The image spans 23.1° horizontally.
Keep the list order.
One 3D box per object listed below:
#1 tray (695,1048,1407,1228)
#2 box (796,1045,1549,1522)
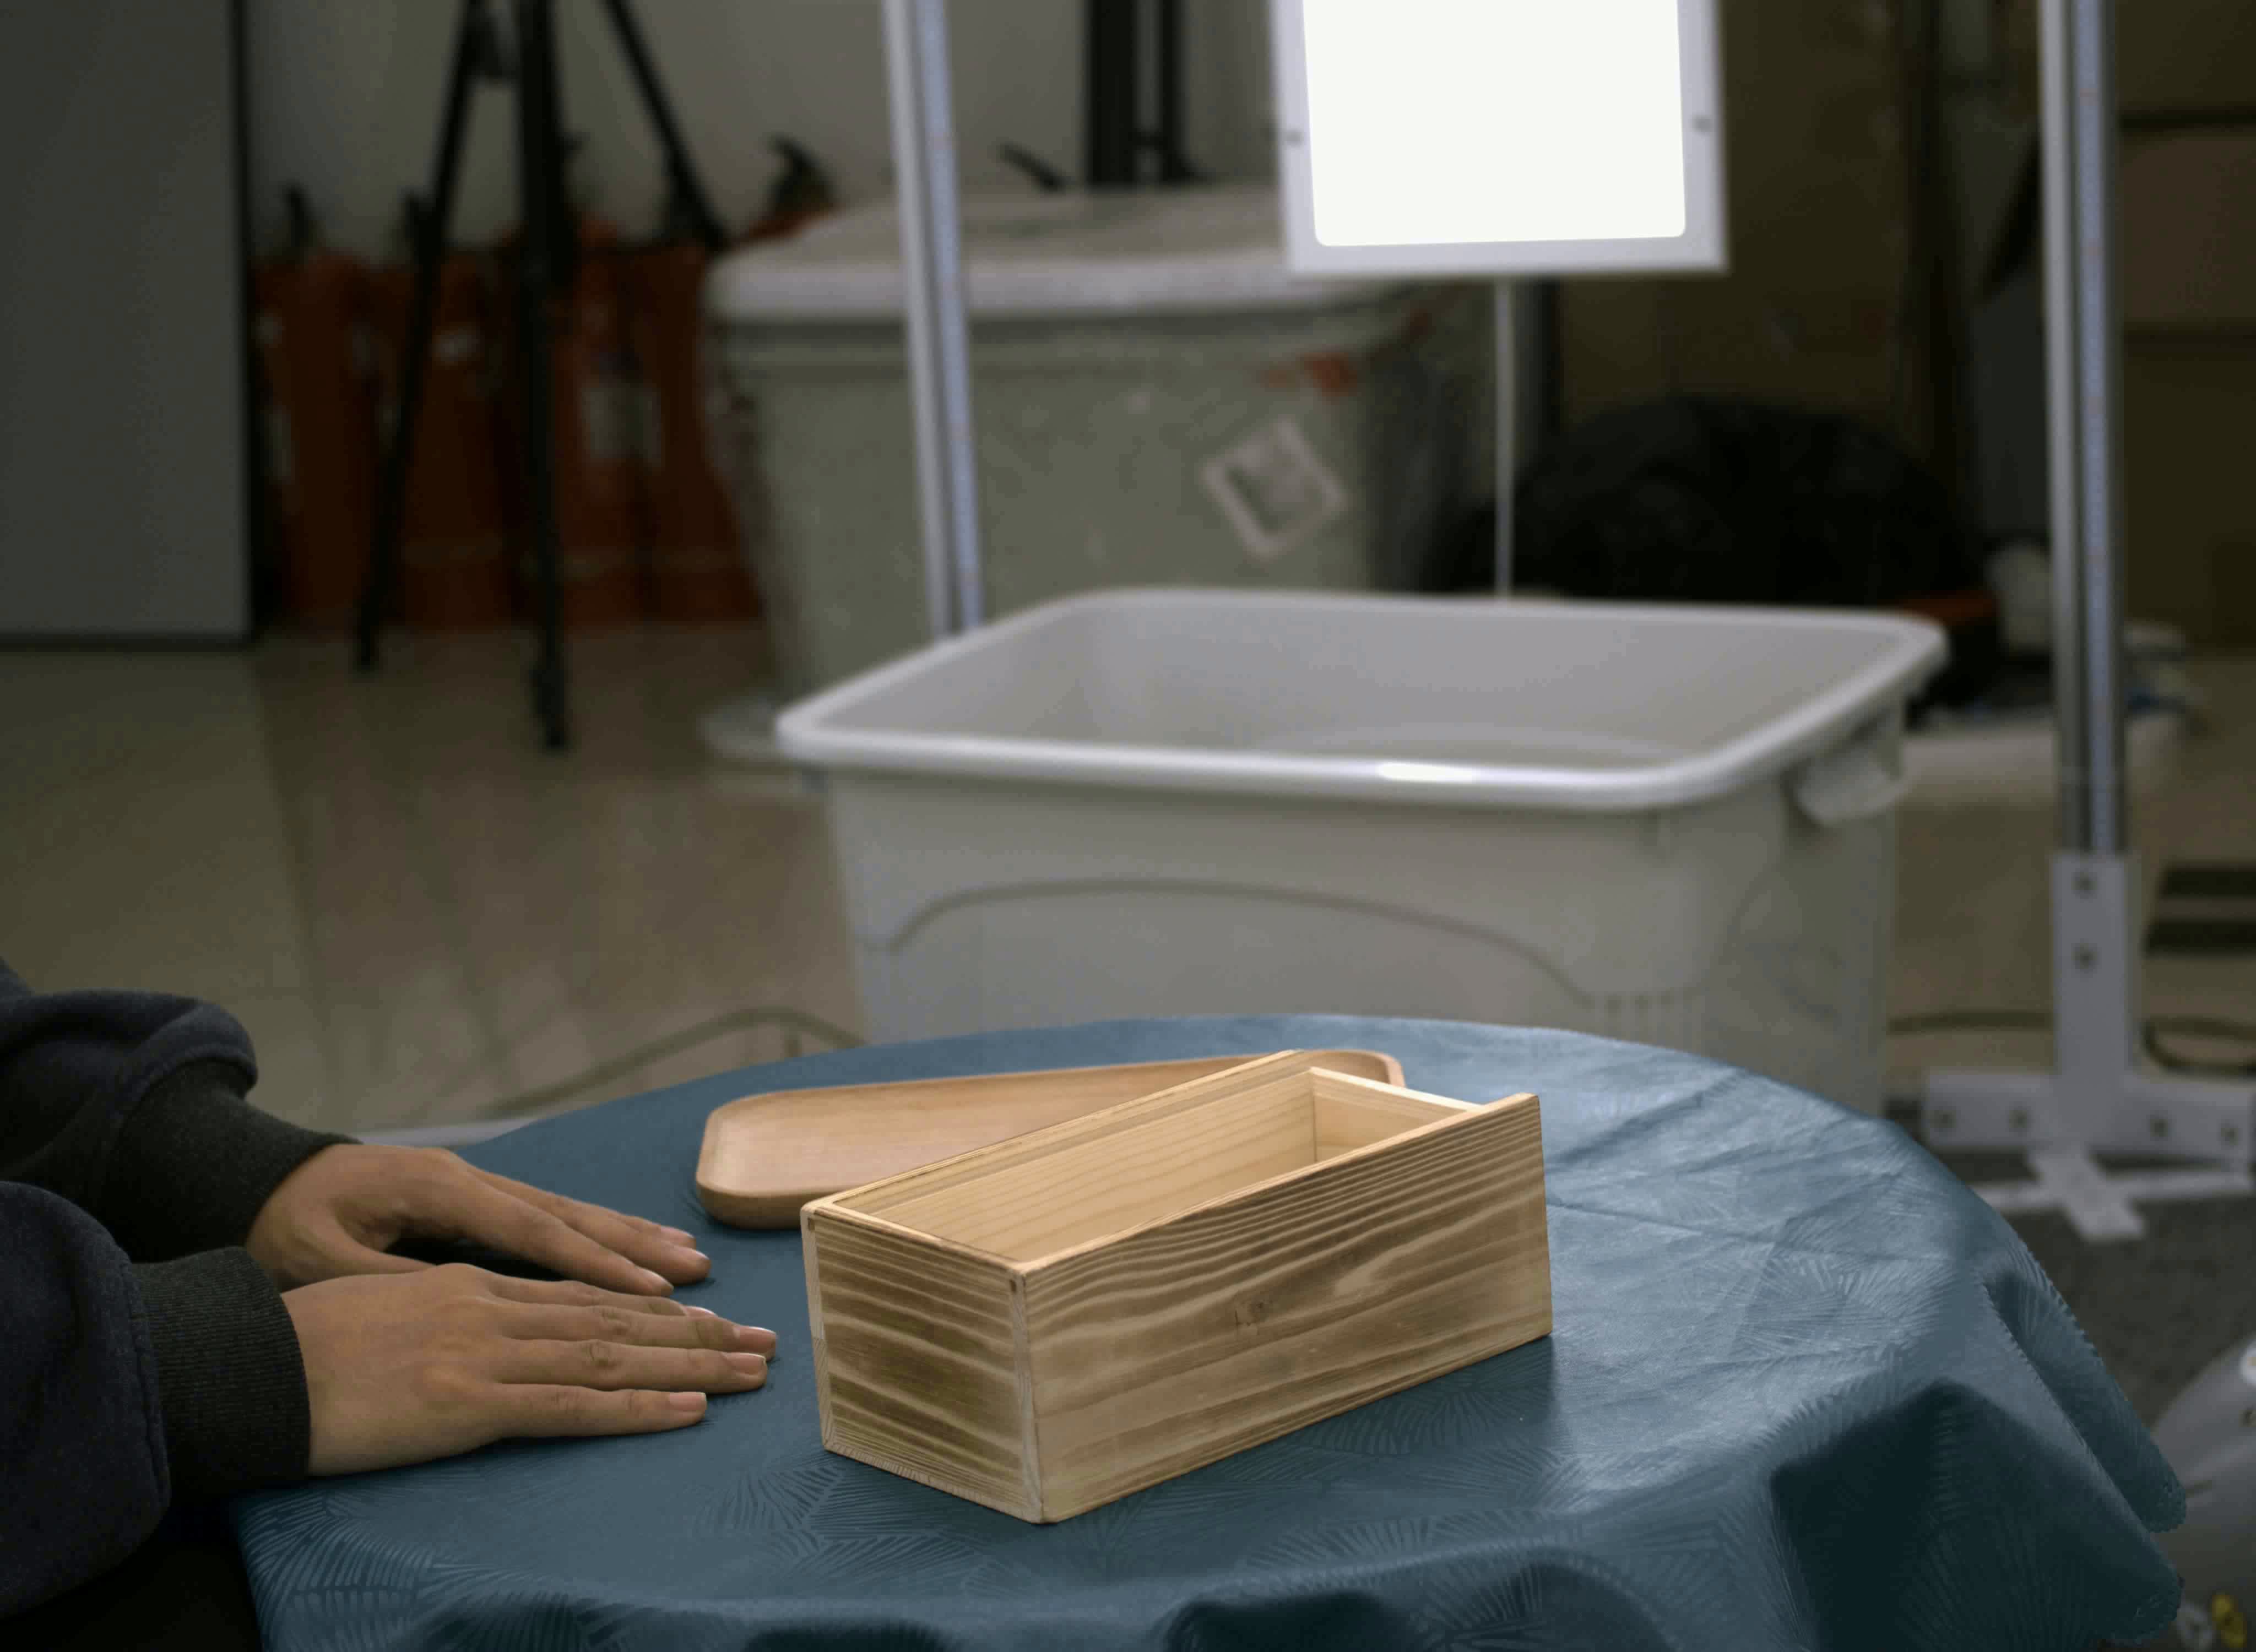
[{"bbox_3d":[-0.026,0.110,1.939,0.250,0.023,0.130,-5,11,3],"label":"tray"},{"bbox_3d":[0.016,0.136,1.685,0.206,0.080,0.110,-16,17,-37],"label":"box"}]
